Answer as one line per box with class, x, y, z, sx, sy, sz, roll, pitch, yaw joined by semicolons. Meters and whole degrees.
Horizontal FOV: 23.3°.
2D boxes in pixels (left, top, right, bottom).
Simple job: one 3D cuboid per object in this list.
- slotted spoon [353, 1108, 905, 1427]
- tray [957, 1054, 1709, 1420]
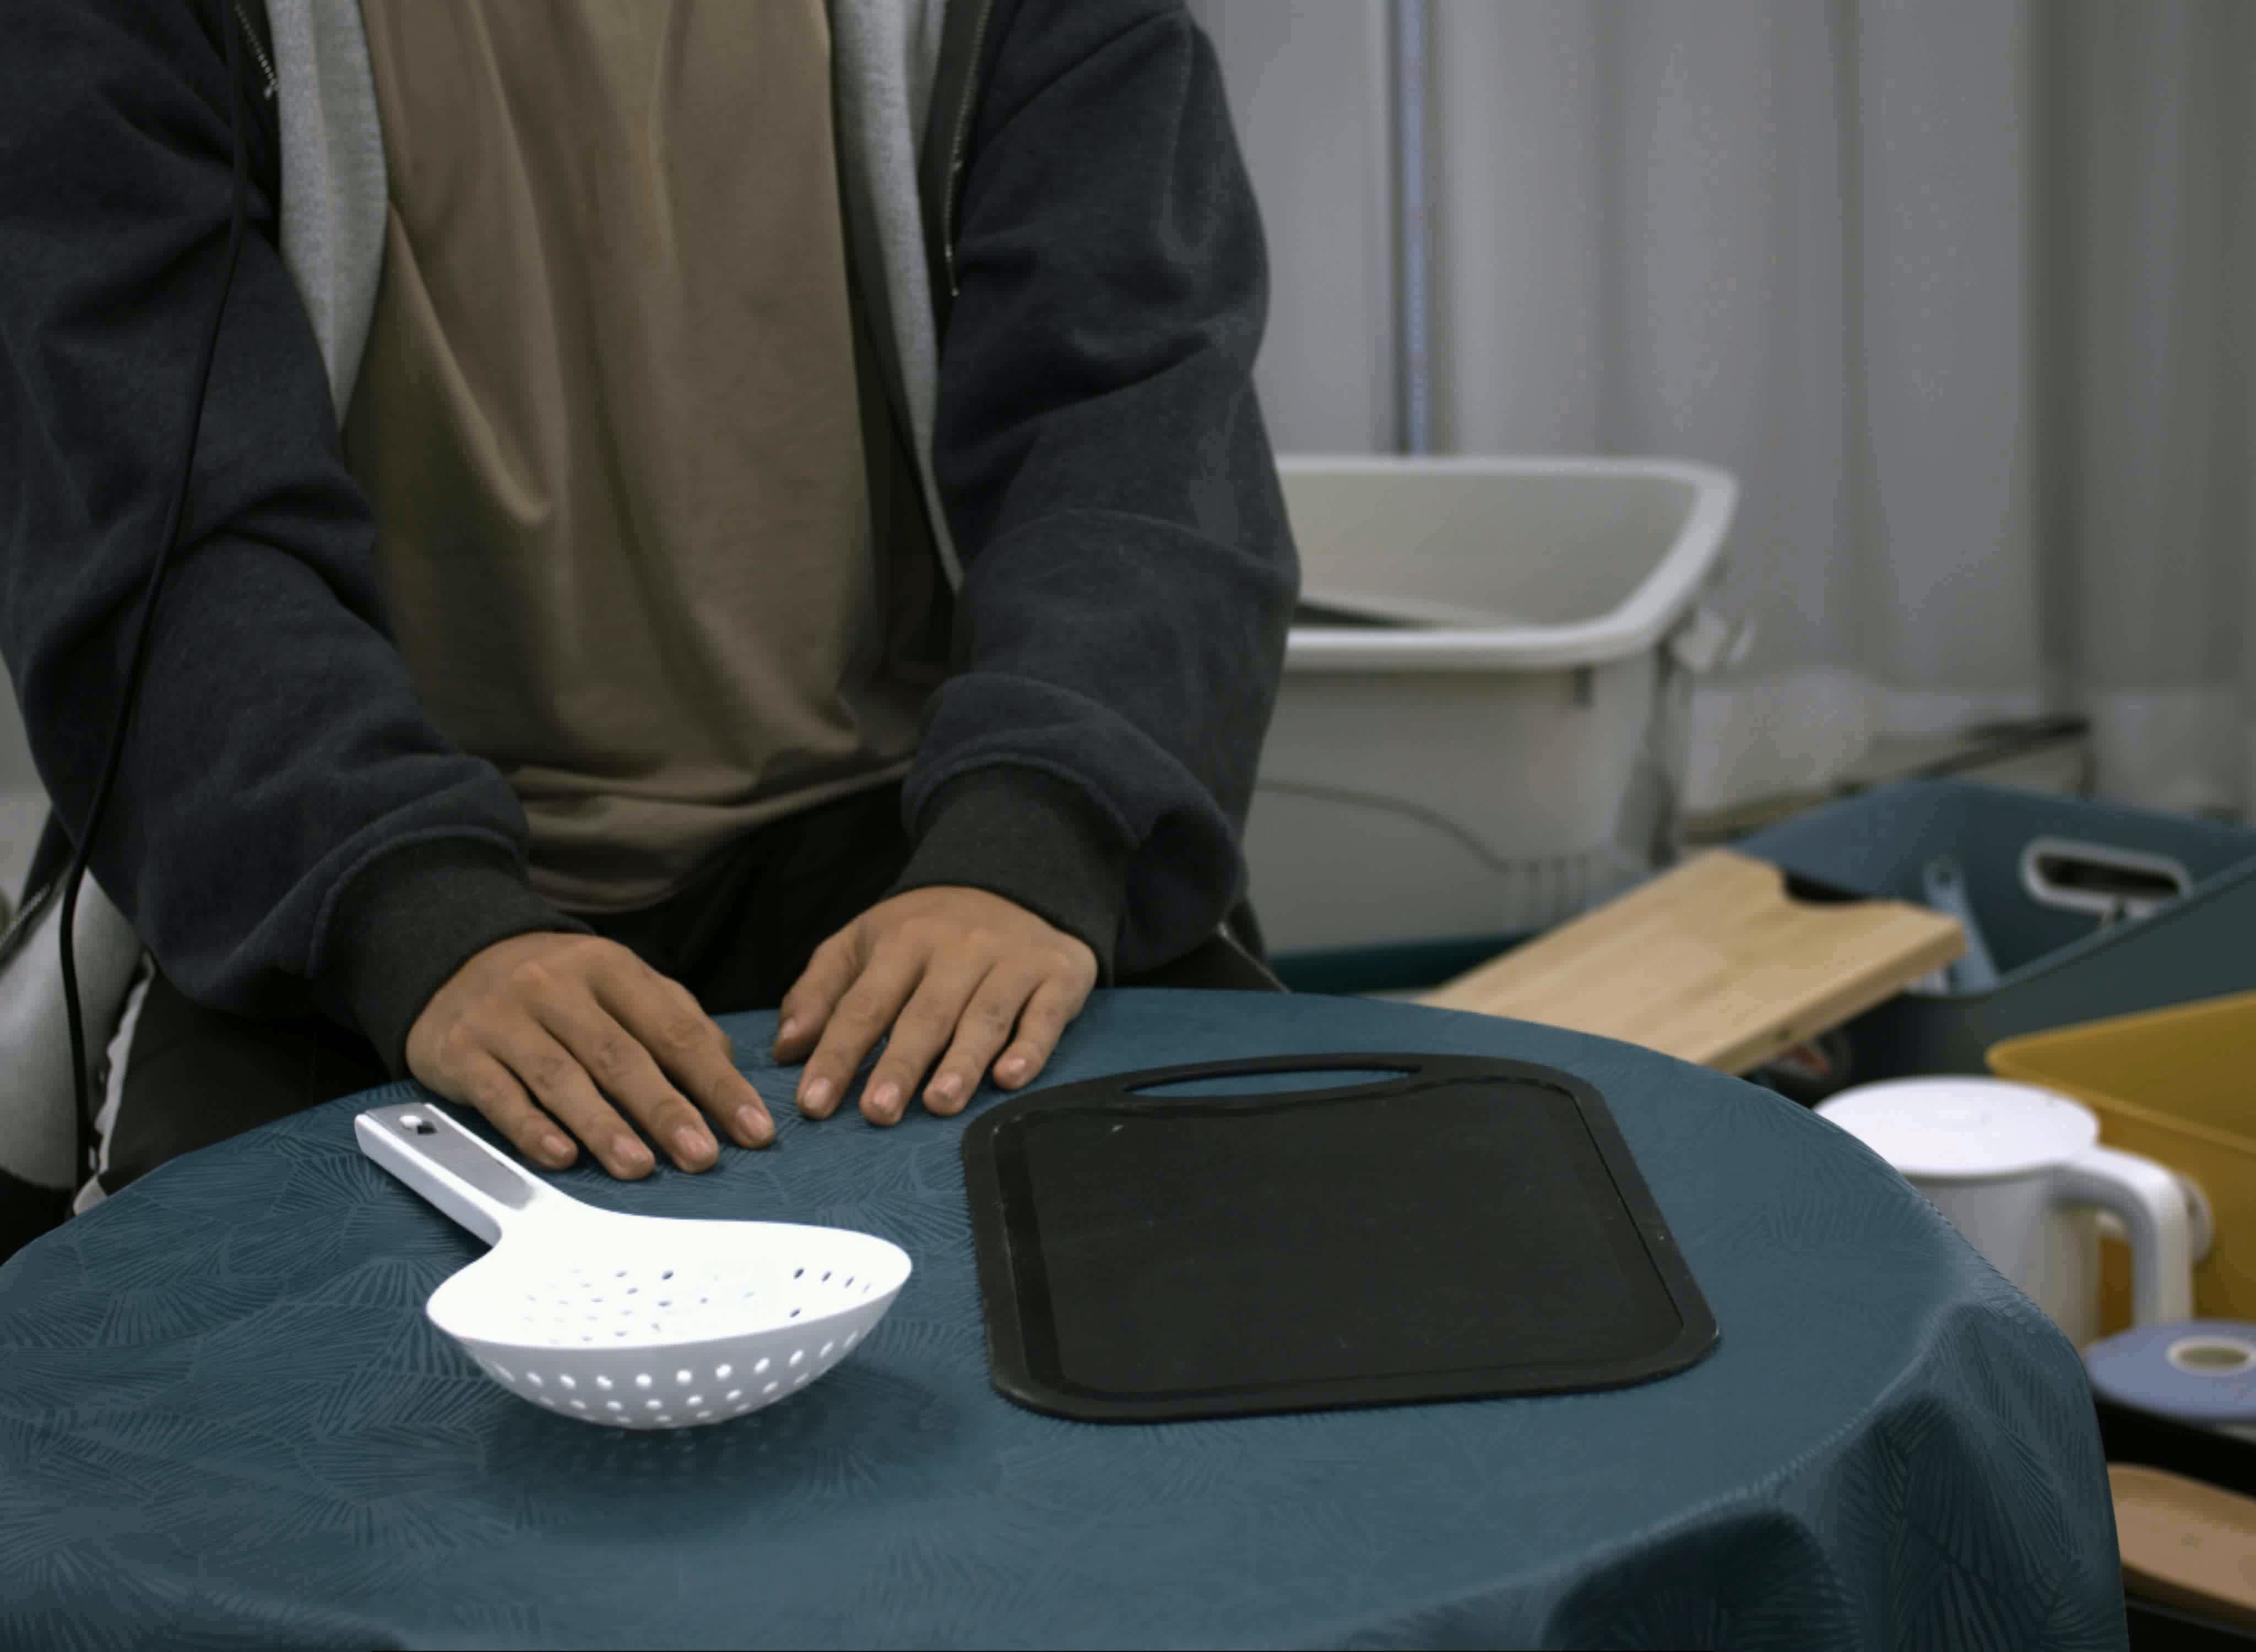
slotted spoon;-0.173;0.122;1.634;0.135;0.045;0.352;-7;14;-23
tray;0.054;0.119;1.678;0.210;0.010;0.328;-4;15;-3
